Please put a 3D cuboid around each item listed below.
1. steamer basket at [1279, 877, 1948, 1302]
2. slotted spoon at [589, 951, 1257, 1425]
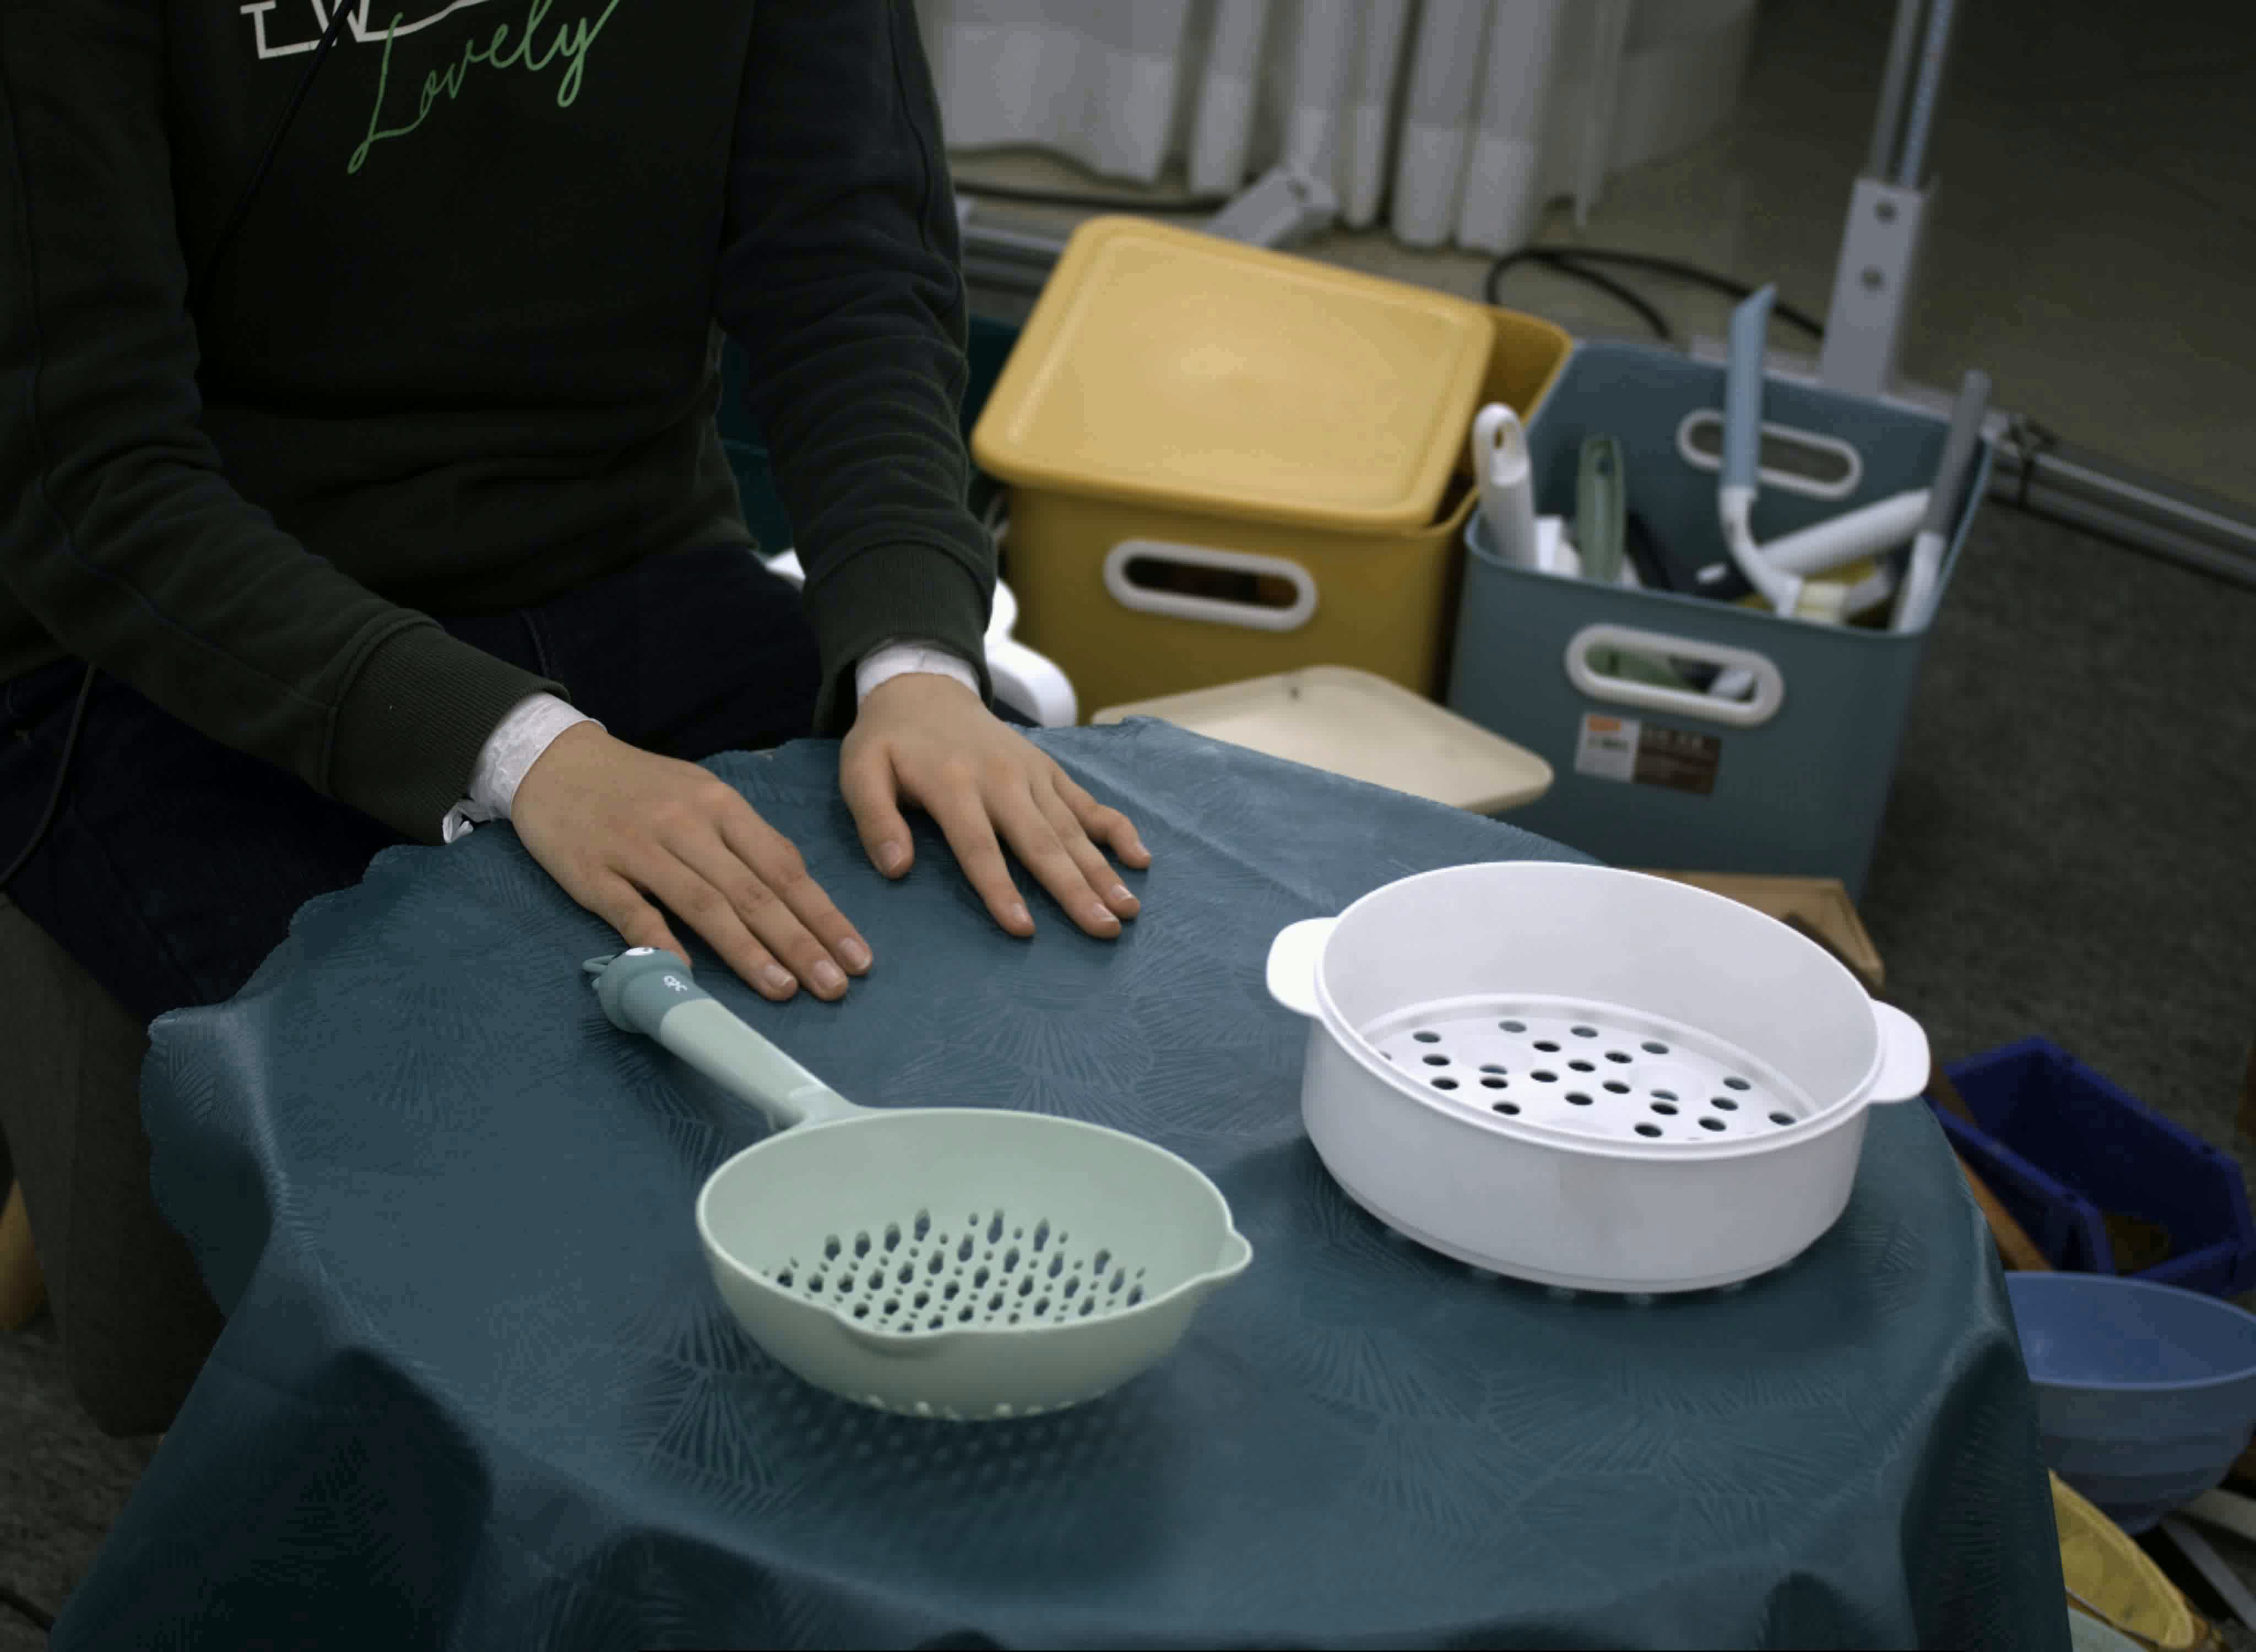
[{"bbox_3d":[0.163,0.090,1.833,0.230,0.069,0.203,7,25,3],"label":"steamer basket"},{"bbox_3d":[-0.099,0.103,1.748,0.168,0.075,0.362,-8,30,-28],"label":"slotted spoon"}]
